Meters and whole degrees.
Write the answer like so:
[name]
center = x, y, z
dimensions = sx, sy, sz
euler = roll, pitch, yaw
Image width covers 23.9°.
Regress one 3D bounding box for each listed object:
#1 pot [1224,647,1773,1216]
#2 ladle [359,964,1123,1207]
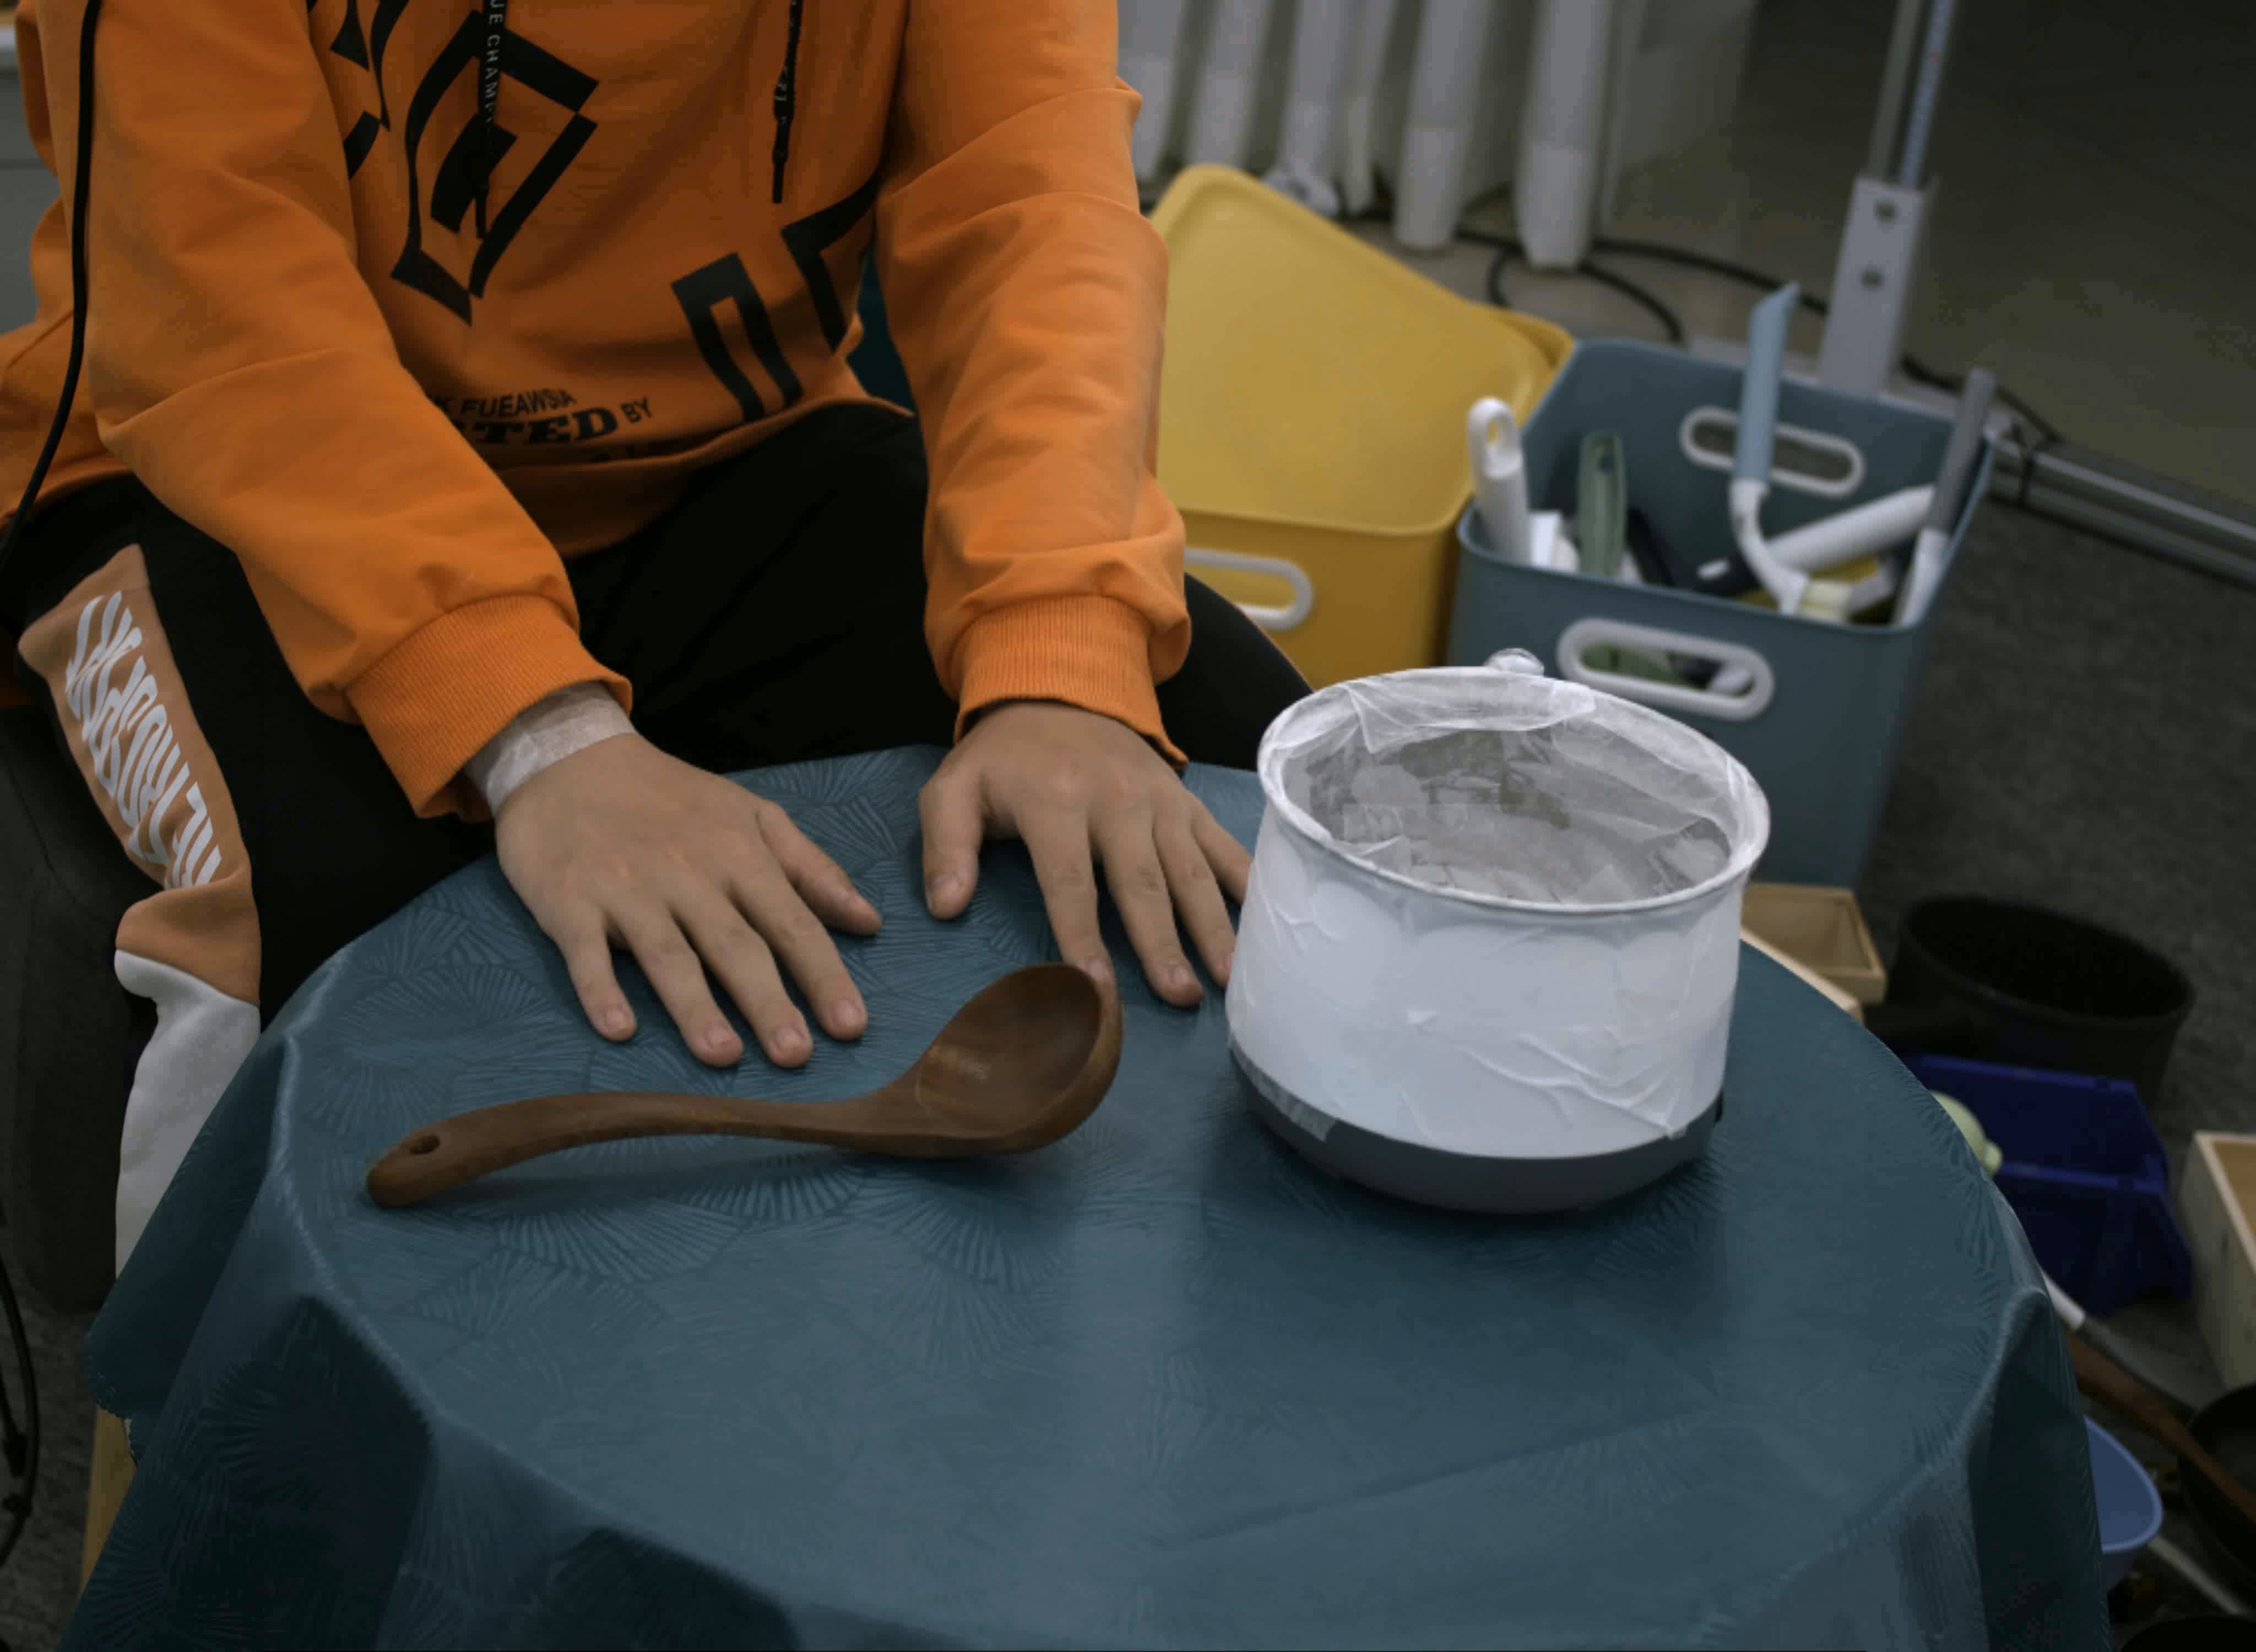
[pot]
center = 0.126, 0.029, 1.865
dimensions = 0.178, 0.136, 0.235
euler = 7, 27, 0
[ladle]
center = -0.127, 0.087, 1.776
dimensions = 0.258, 0.065, 0.077
euler = -3, 26, -19
